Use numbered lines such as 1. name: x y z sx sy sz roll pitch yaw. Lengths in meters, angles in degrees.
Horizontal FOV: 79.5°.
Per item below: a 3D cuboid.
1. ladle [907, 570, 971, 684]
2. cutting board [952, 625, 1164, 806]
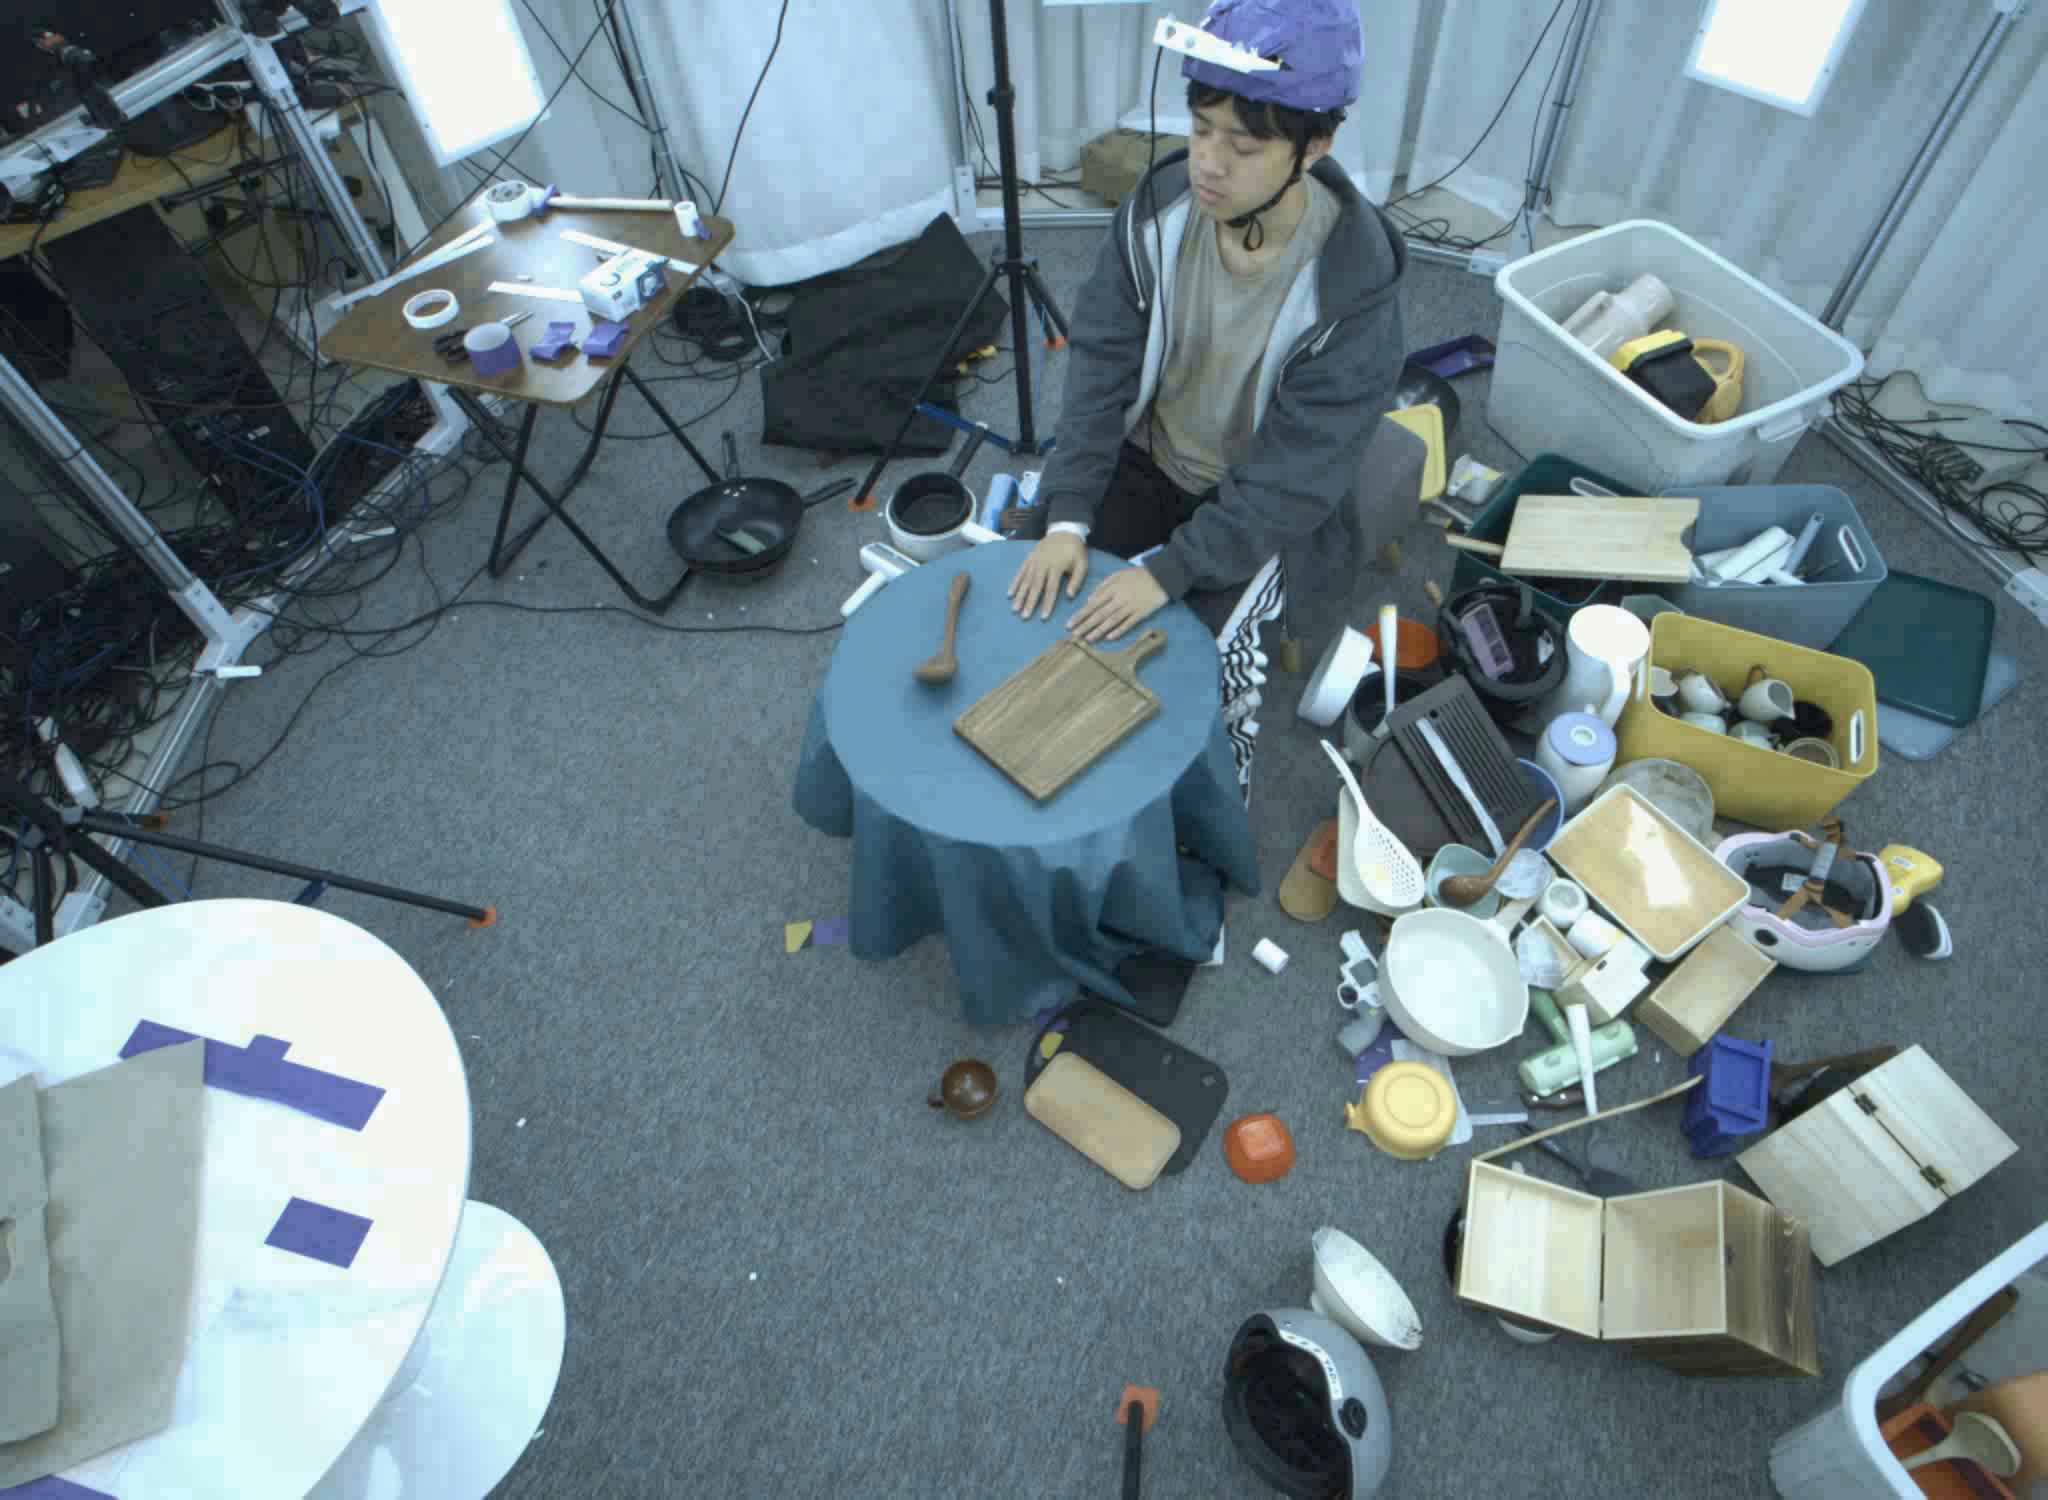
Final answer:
1. ladle: -0.122 -0.201 1.897 0.076 0.066 0.258 1 54 14
2. cutting board: 0.084 -0.080 1.830 0.354 0.023 0.197 -39 63 -22
